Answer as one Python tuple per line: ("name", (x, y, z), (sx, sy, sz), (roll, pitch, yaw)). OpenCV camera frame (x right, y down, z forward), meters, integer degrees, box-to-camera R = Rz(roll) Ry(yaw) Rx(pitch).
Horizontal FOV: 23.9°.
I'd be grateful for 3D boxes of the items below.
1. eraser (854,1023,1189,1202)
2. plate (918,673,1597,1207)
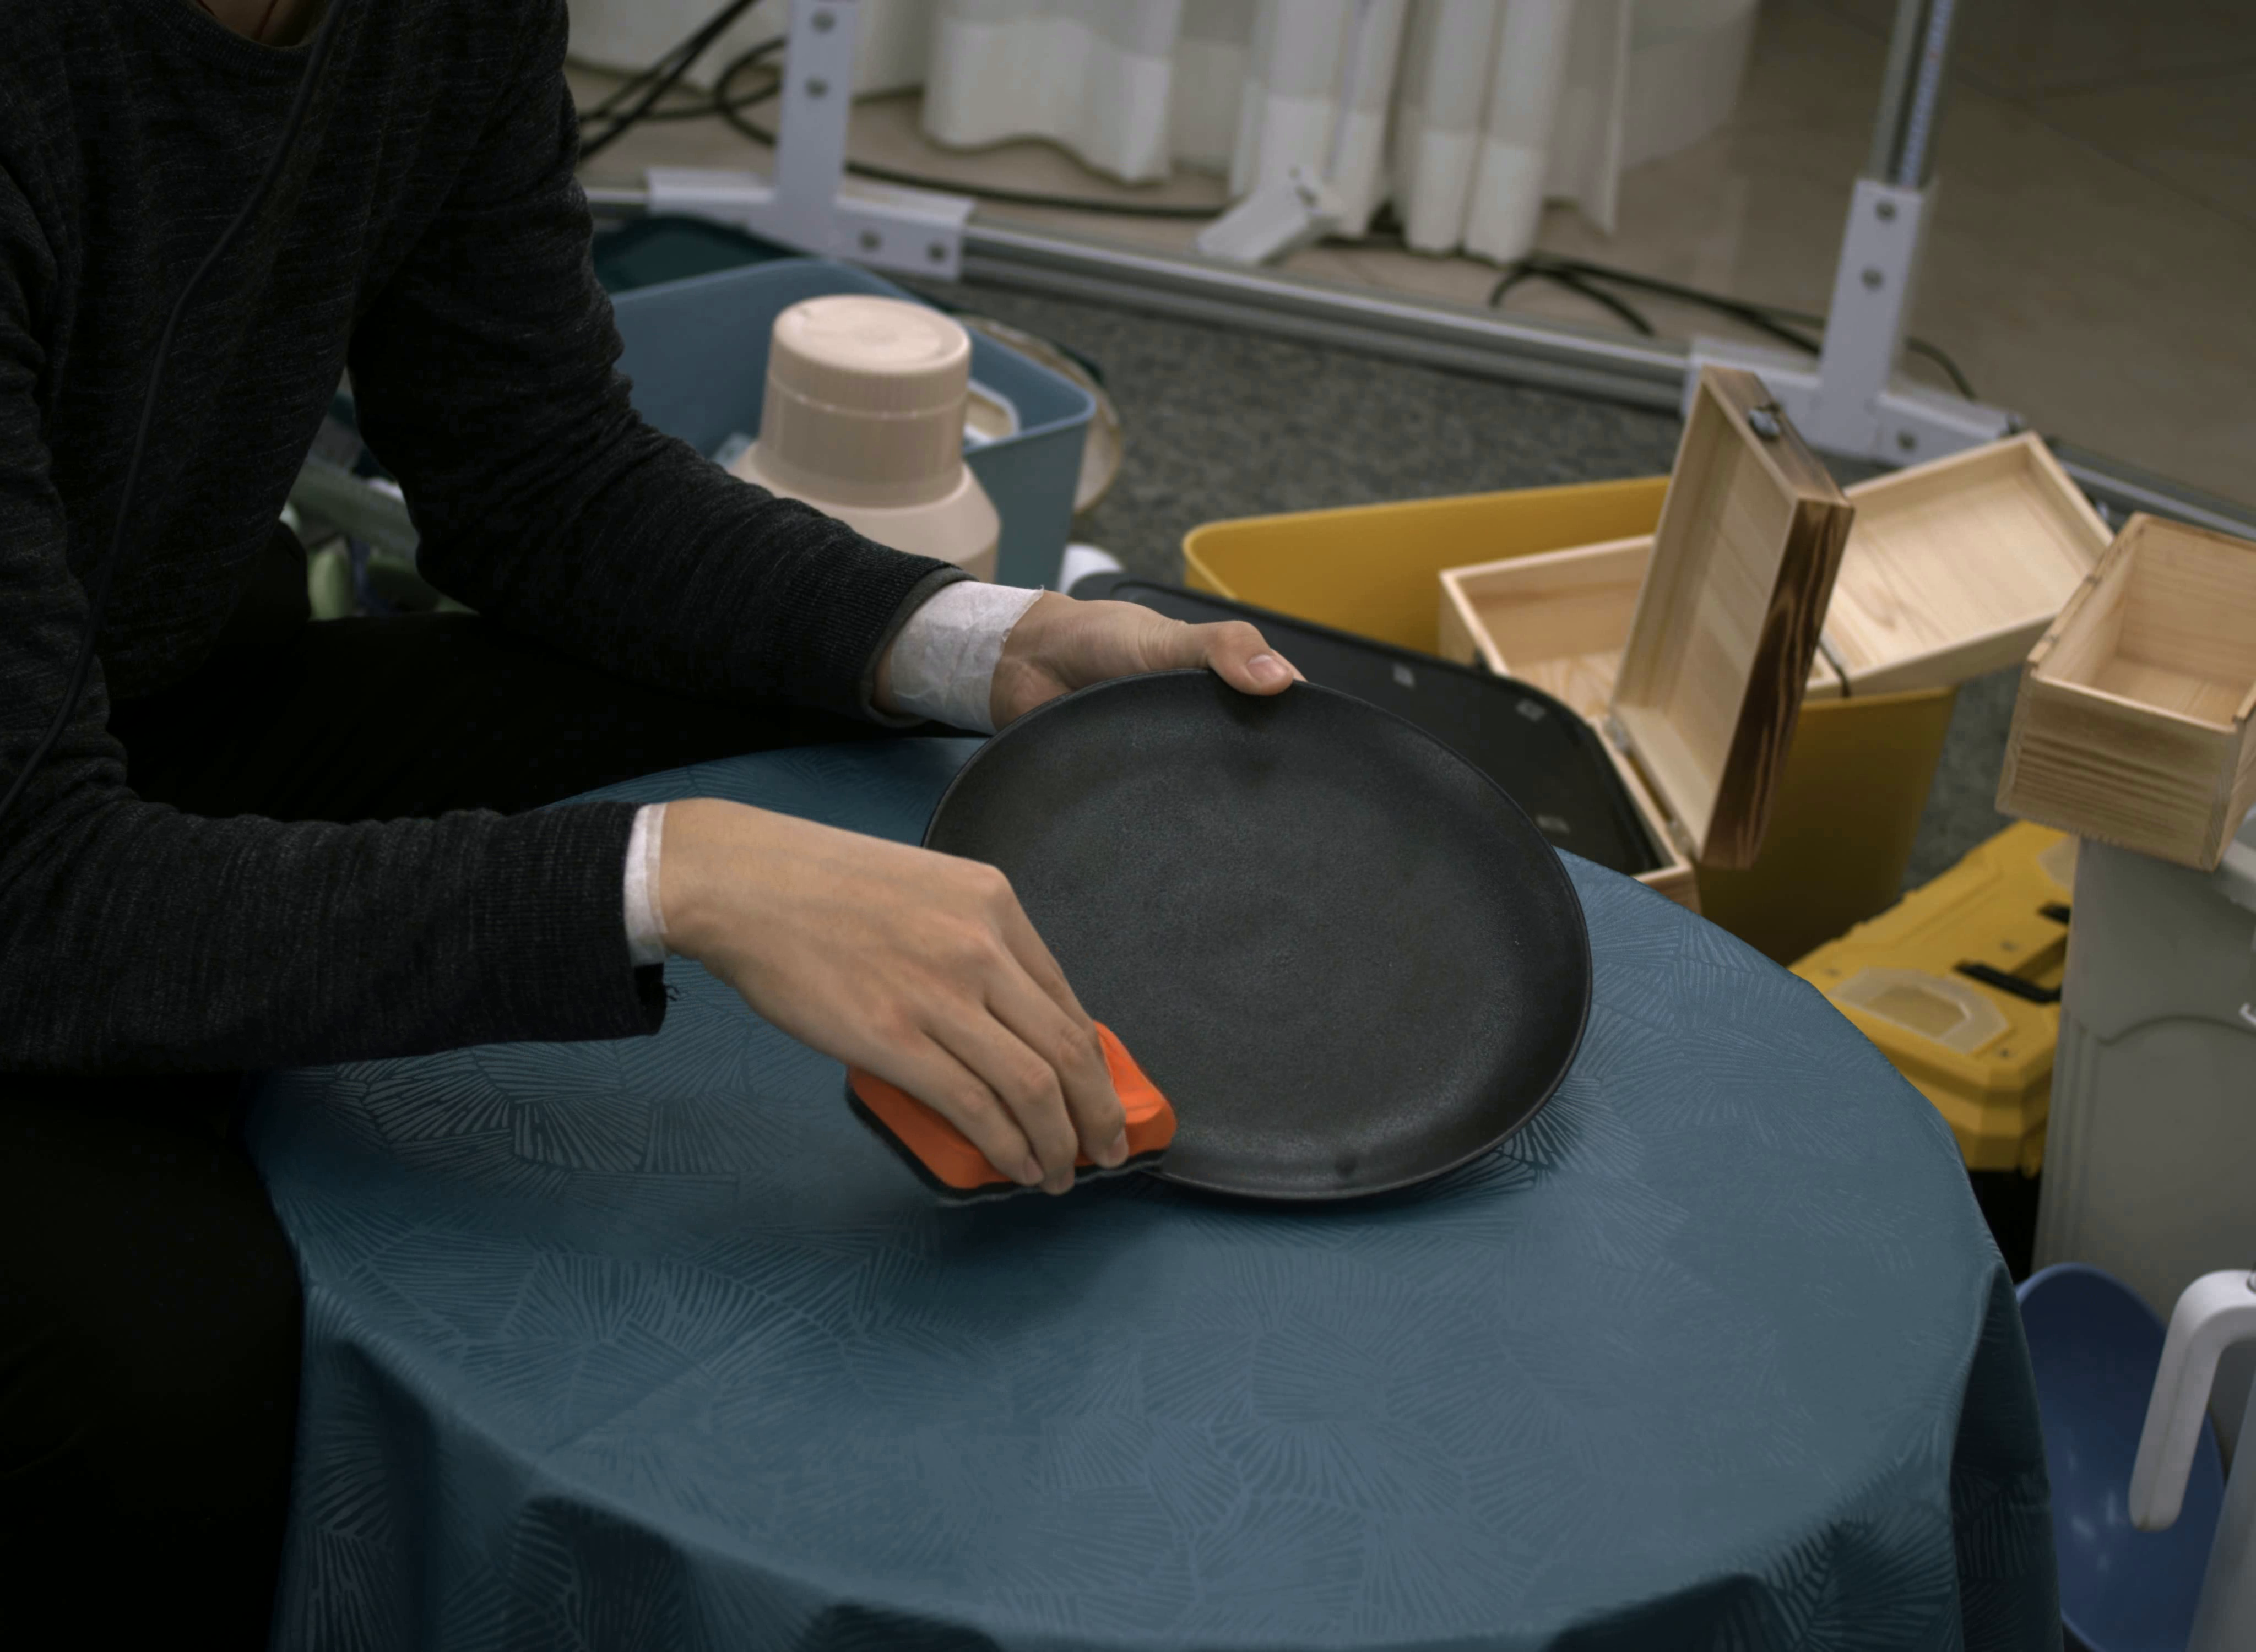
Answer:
("eraser", (-0.035, 0.095, 1.774), (0.107, 0.023, 0.059), (-6, 37, -42))
("plate", (0.045, 0.041, 1.879), (0.243, 0.023, 0.246), (6, 48, -6))
